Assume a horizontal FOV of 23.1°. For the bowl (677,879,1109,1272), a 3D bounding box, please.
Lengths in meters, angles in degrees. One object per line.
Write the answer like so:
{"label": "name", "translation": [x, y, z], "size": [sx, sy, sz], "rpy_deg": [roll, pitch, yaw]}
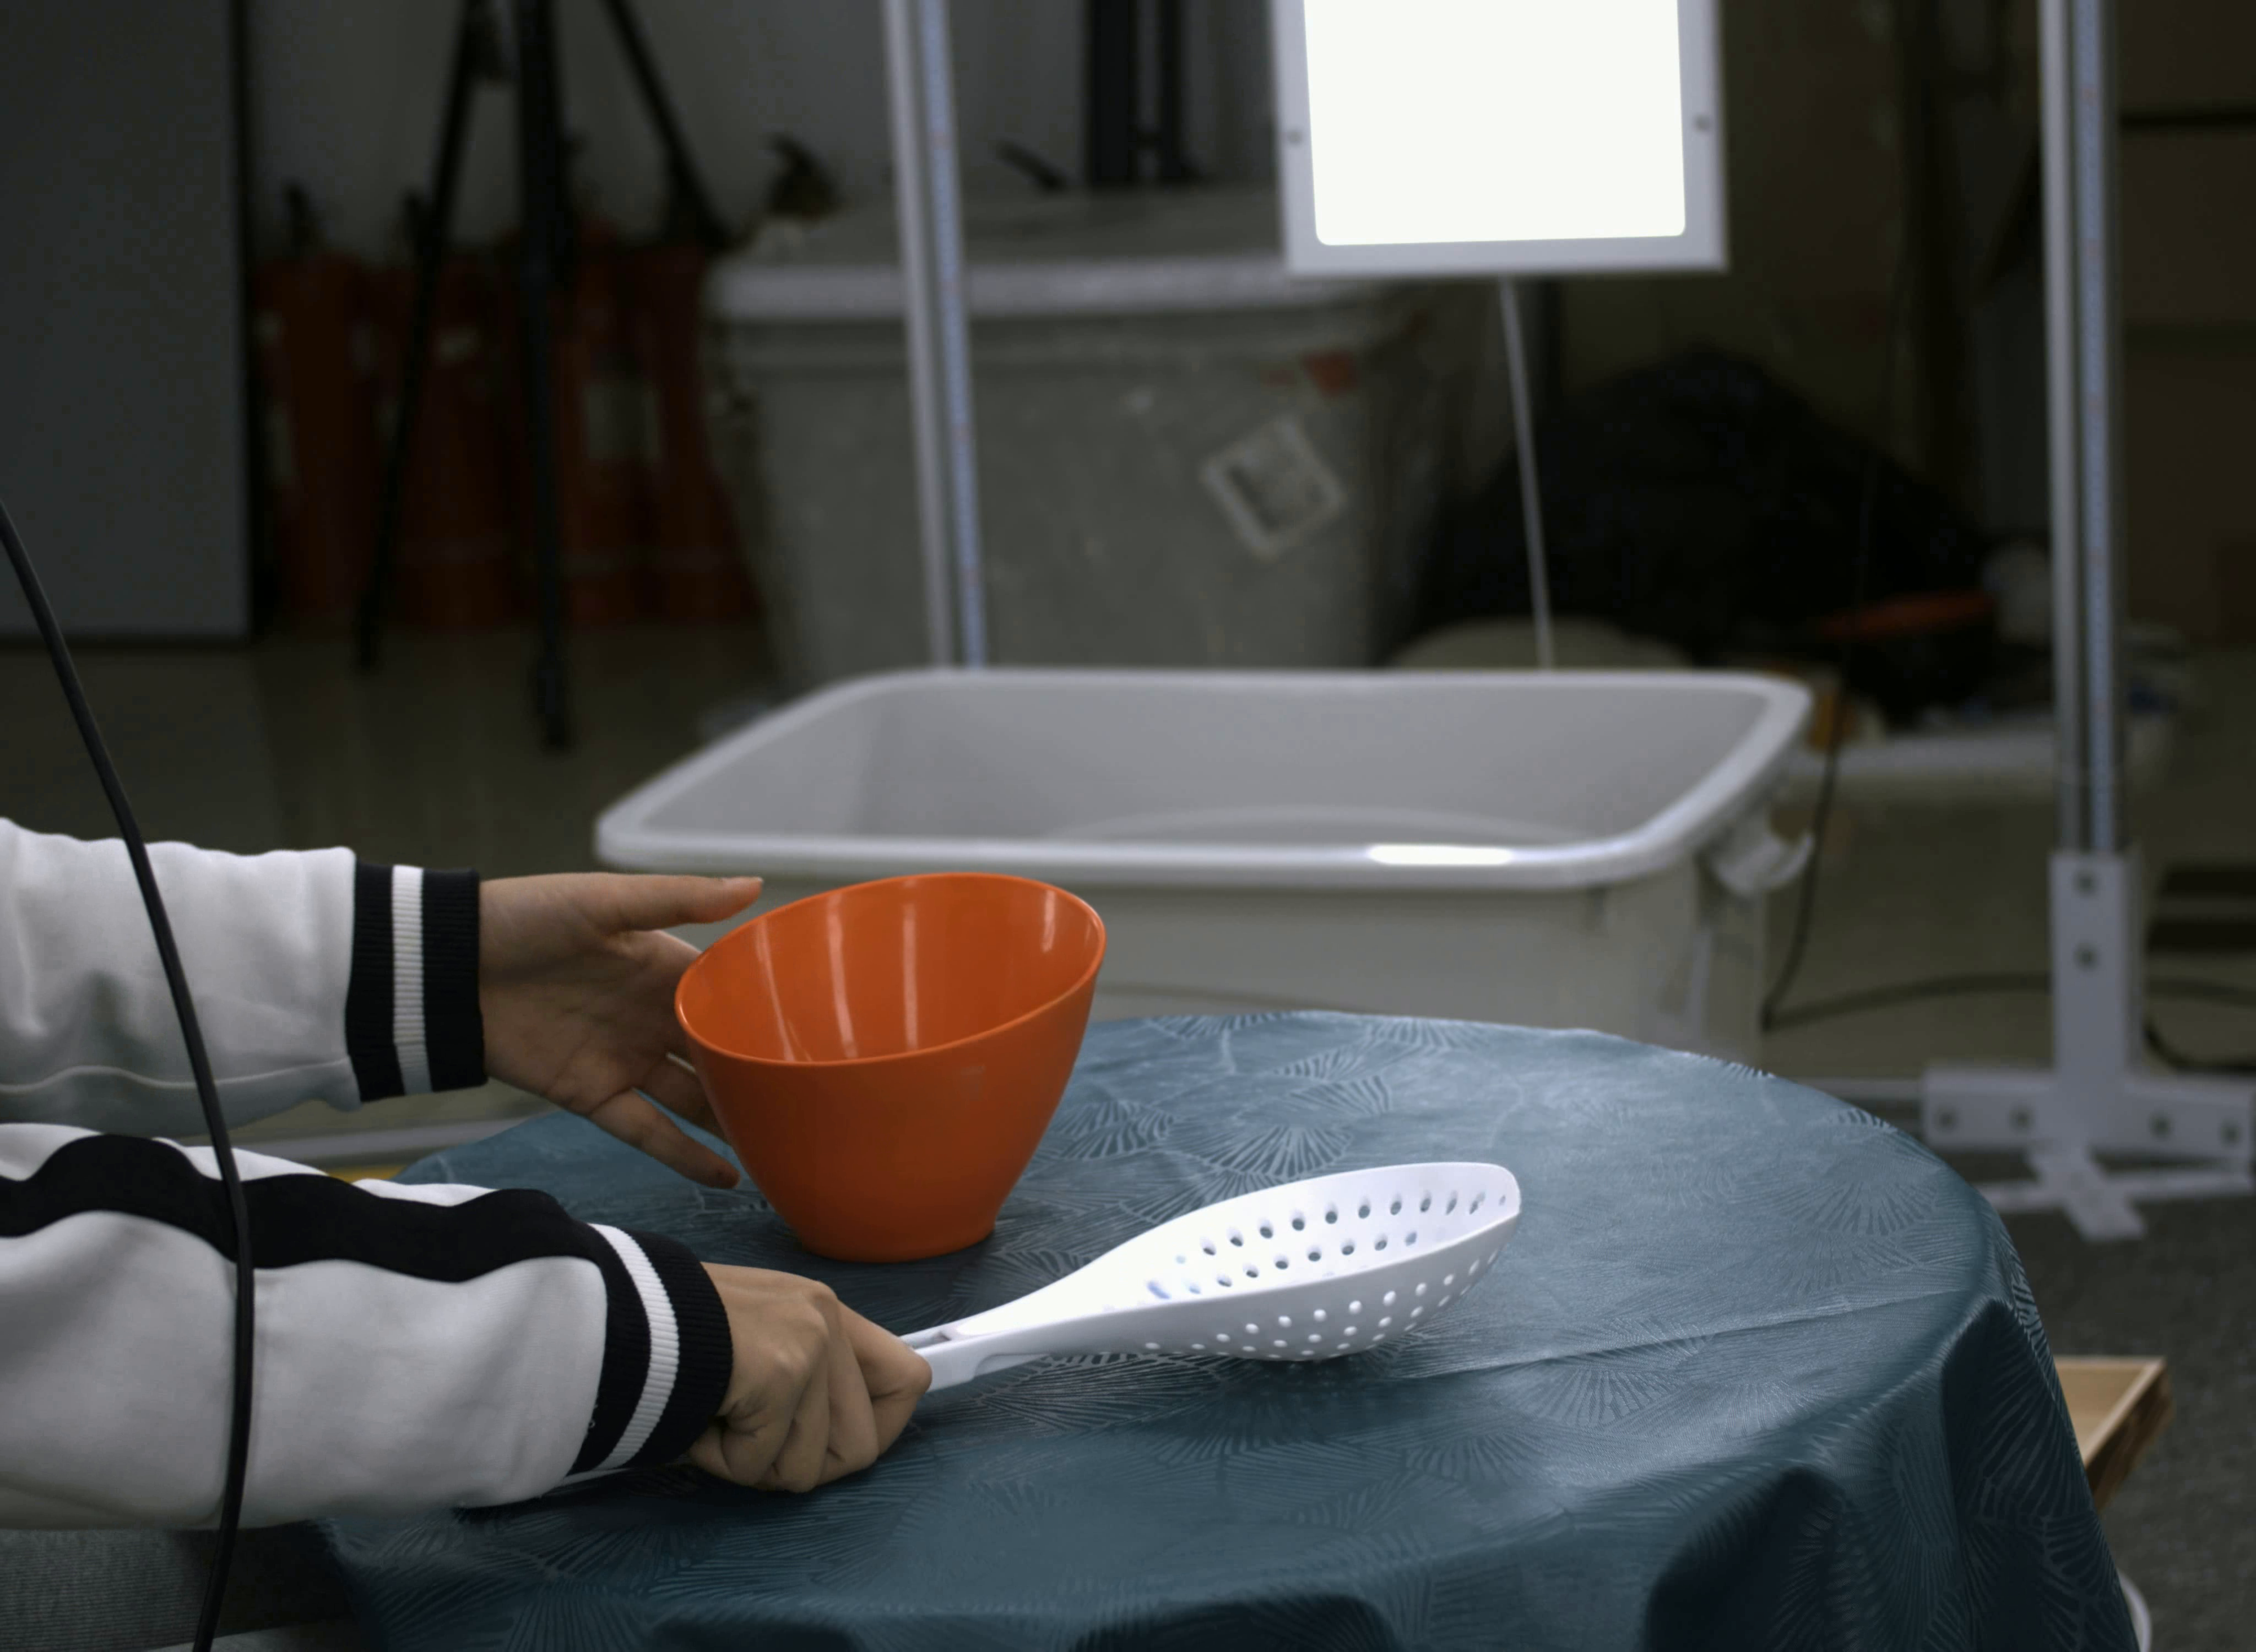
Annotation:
{"label": "bowl", "translation": [-0.077, 0.088, 1.874], "size": [0.147, 0.105, 0.148], "rpy_deg": [-4, 15, 0]}

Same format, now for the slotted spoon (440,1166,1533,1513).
{"label": "slotted spoon", "translation": [-0.040, 0.157, 1.692], "size": [0.345, 0.046, 0.137], "rpy_deg": [-9, 6, -13]}
